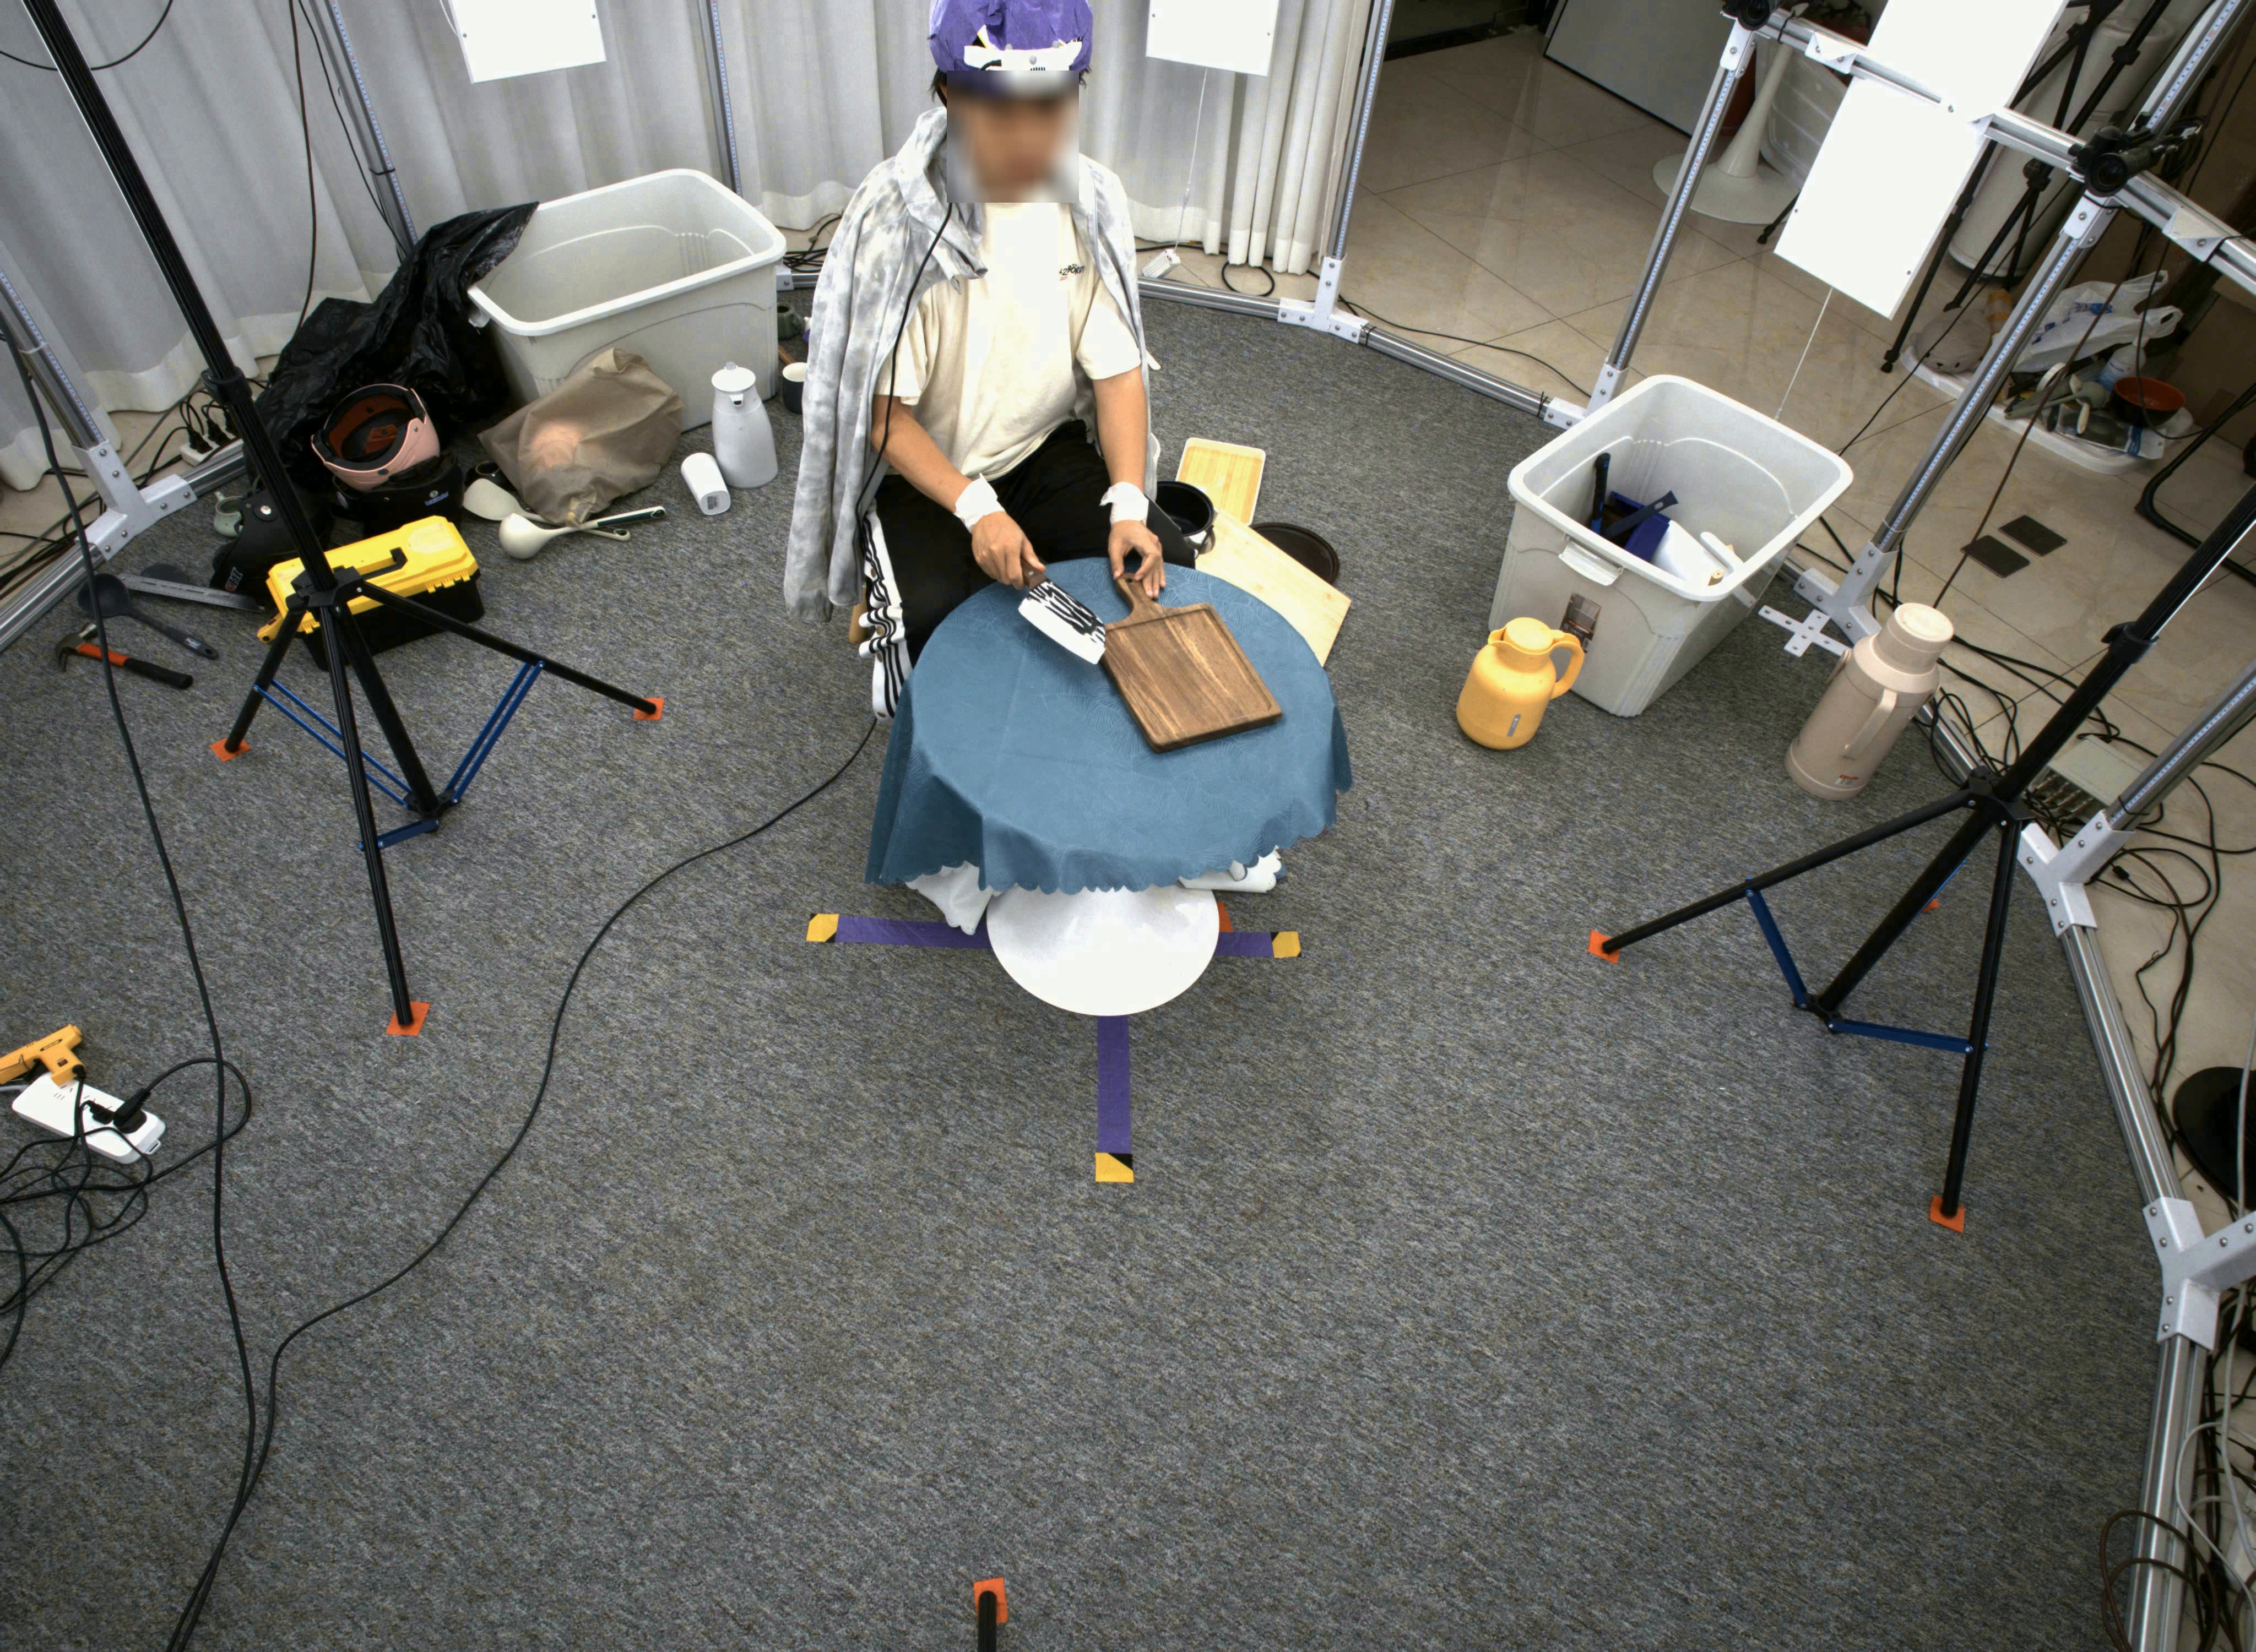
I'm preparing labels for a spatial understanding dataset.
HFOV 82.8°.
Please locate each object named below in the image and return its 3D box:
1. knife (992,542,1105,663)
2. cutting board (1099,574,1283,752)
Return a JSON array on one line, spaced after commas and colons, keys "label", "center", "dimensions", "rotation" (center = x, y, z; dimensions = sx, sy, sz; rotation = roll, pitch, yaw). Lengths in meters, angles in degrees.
[{"label": "knife", "center": [-0.123, -0.328, 1.879], "dimensions": [0.068, 0.023, 0.305], "rotation": [-43, 56, -7]}, {"label": "cutting board", "center": [0.062, -0.256, 1.874], "dimensions": [0.201, 0.022, 0.360], "rotation": [-15, 51, -17]}]
